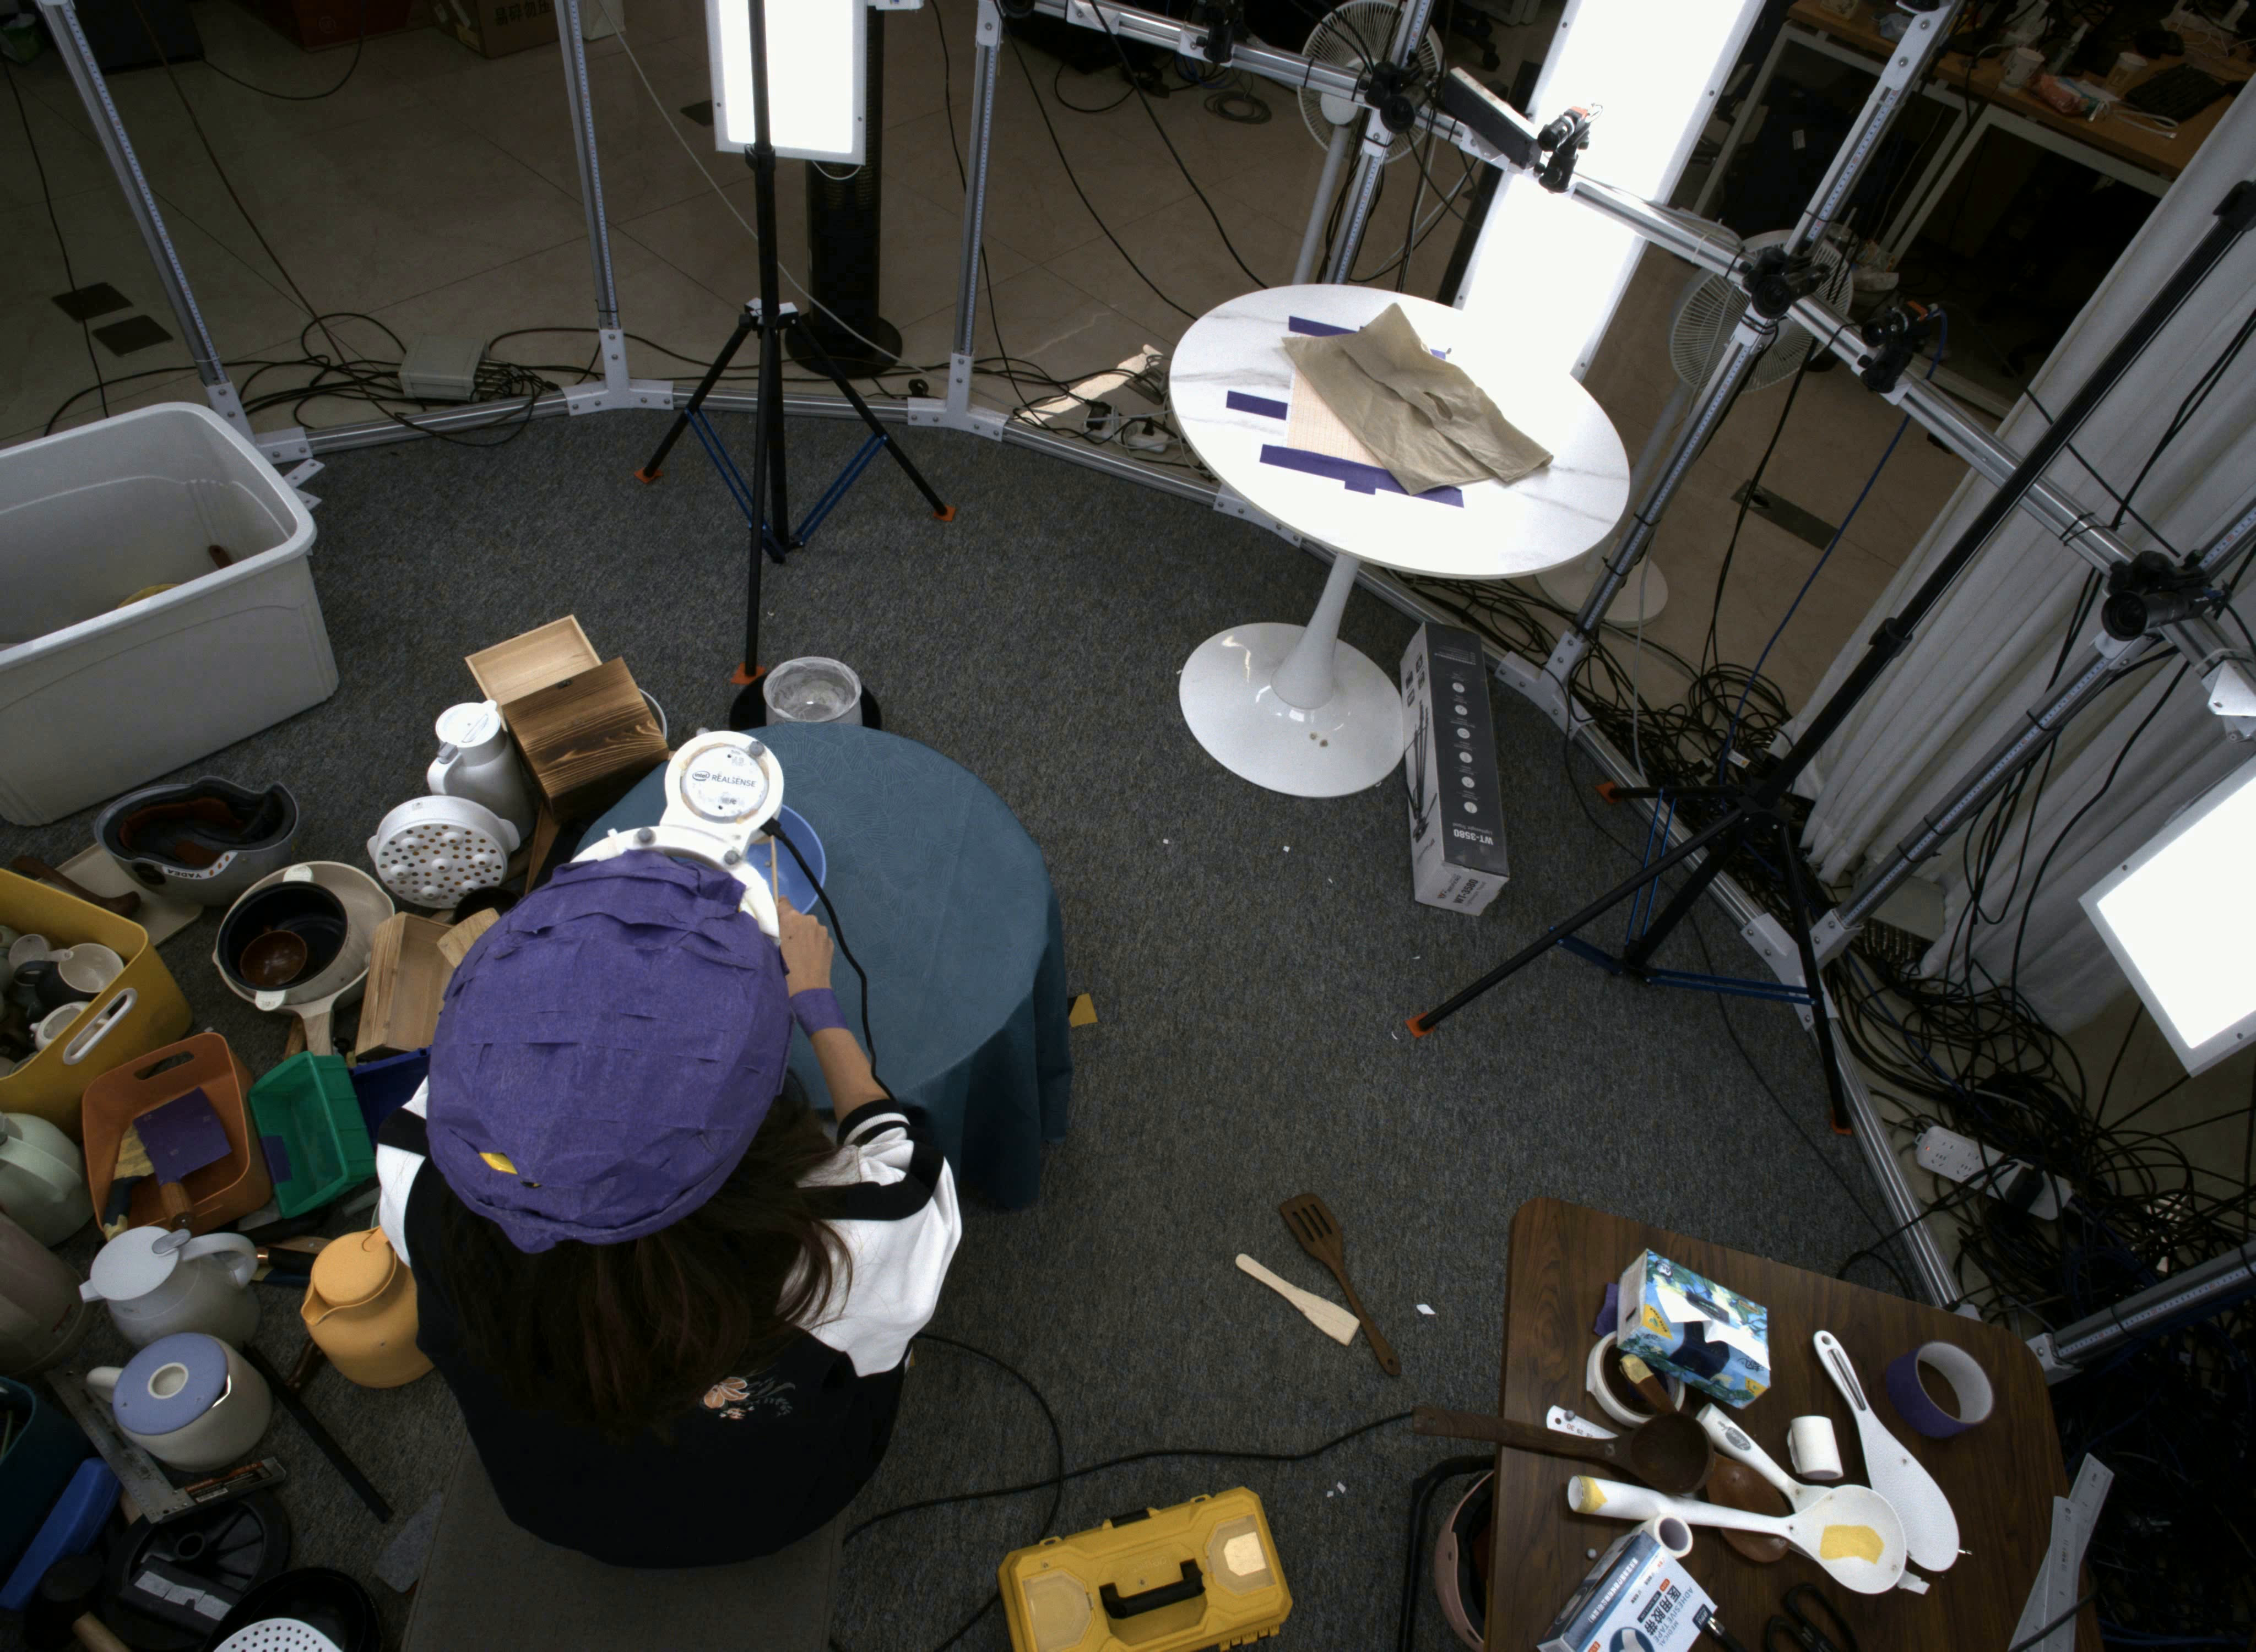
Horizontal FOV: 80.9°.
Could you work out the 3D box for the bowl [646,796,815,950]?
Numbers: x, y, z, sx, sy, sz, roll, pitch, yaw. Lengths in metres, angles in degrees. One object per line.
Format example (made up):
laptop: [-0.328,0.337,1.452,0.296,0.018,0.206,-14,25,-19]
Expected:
bowl: [-0.484,0.070,1.566,0.198,0.096,0.193,13,55,-16]

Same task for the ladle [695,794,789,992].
ladle: [-0.433,0.076,1.443,0.073,0.073,0.249,-11,61,-14]
